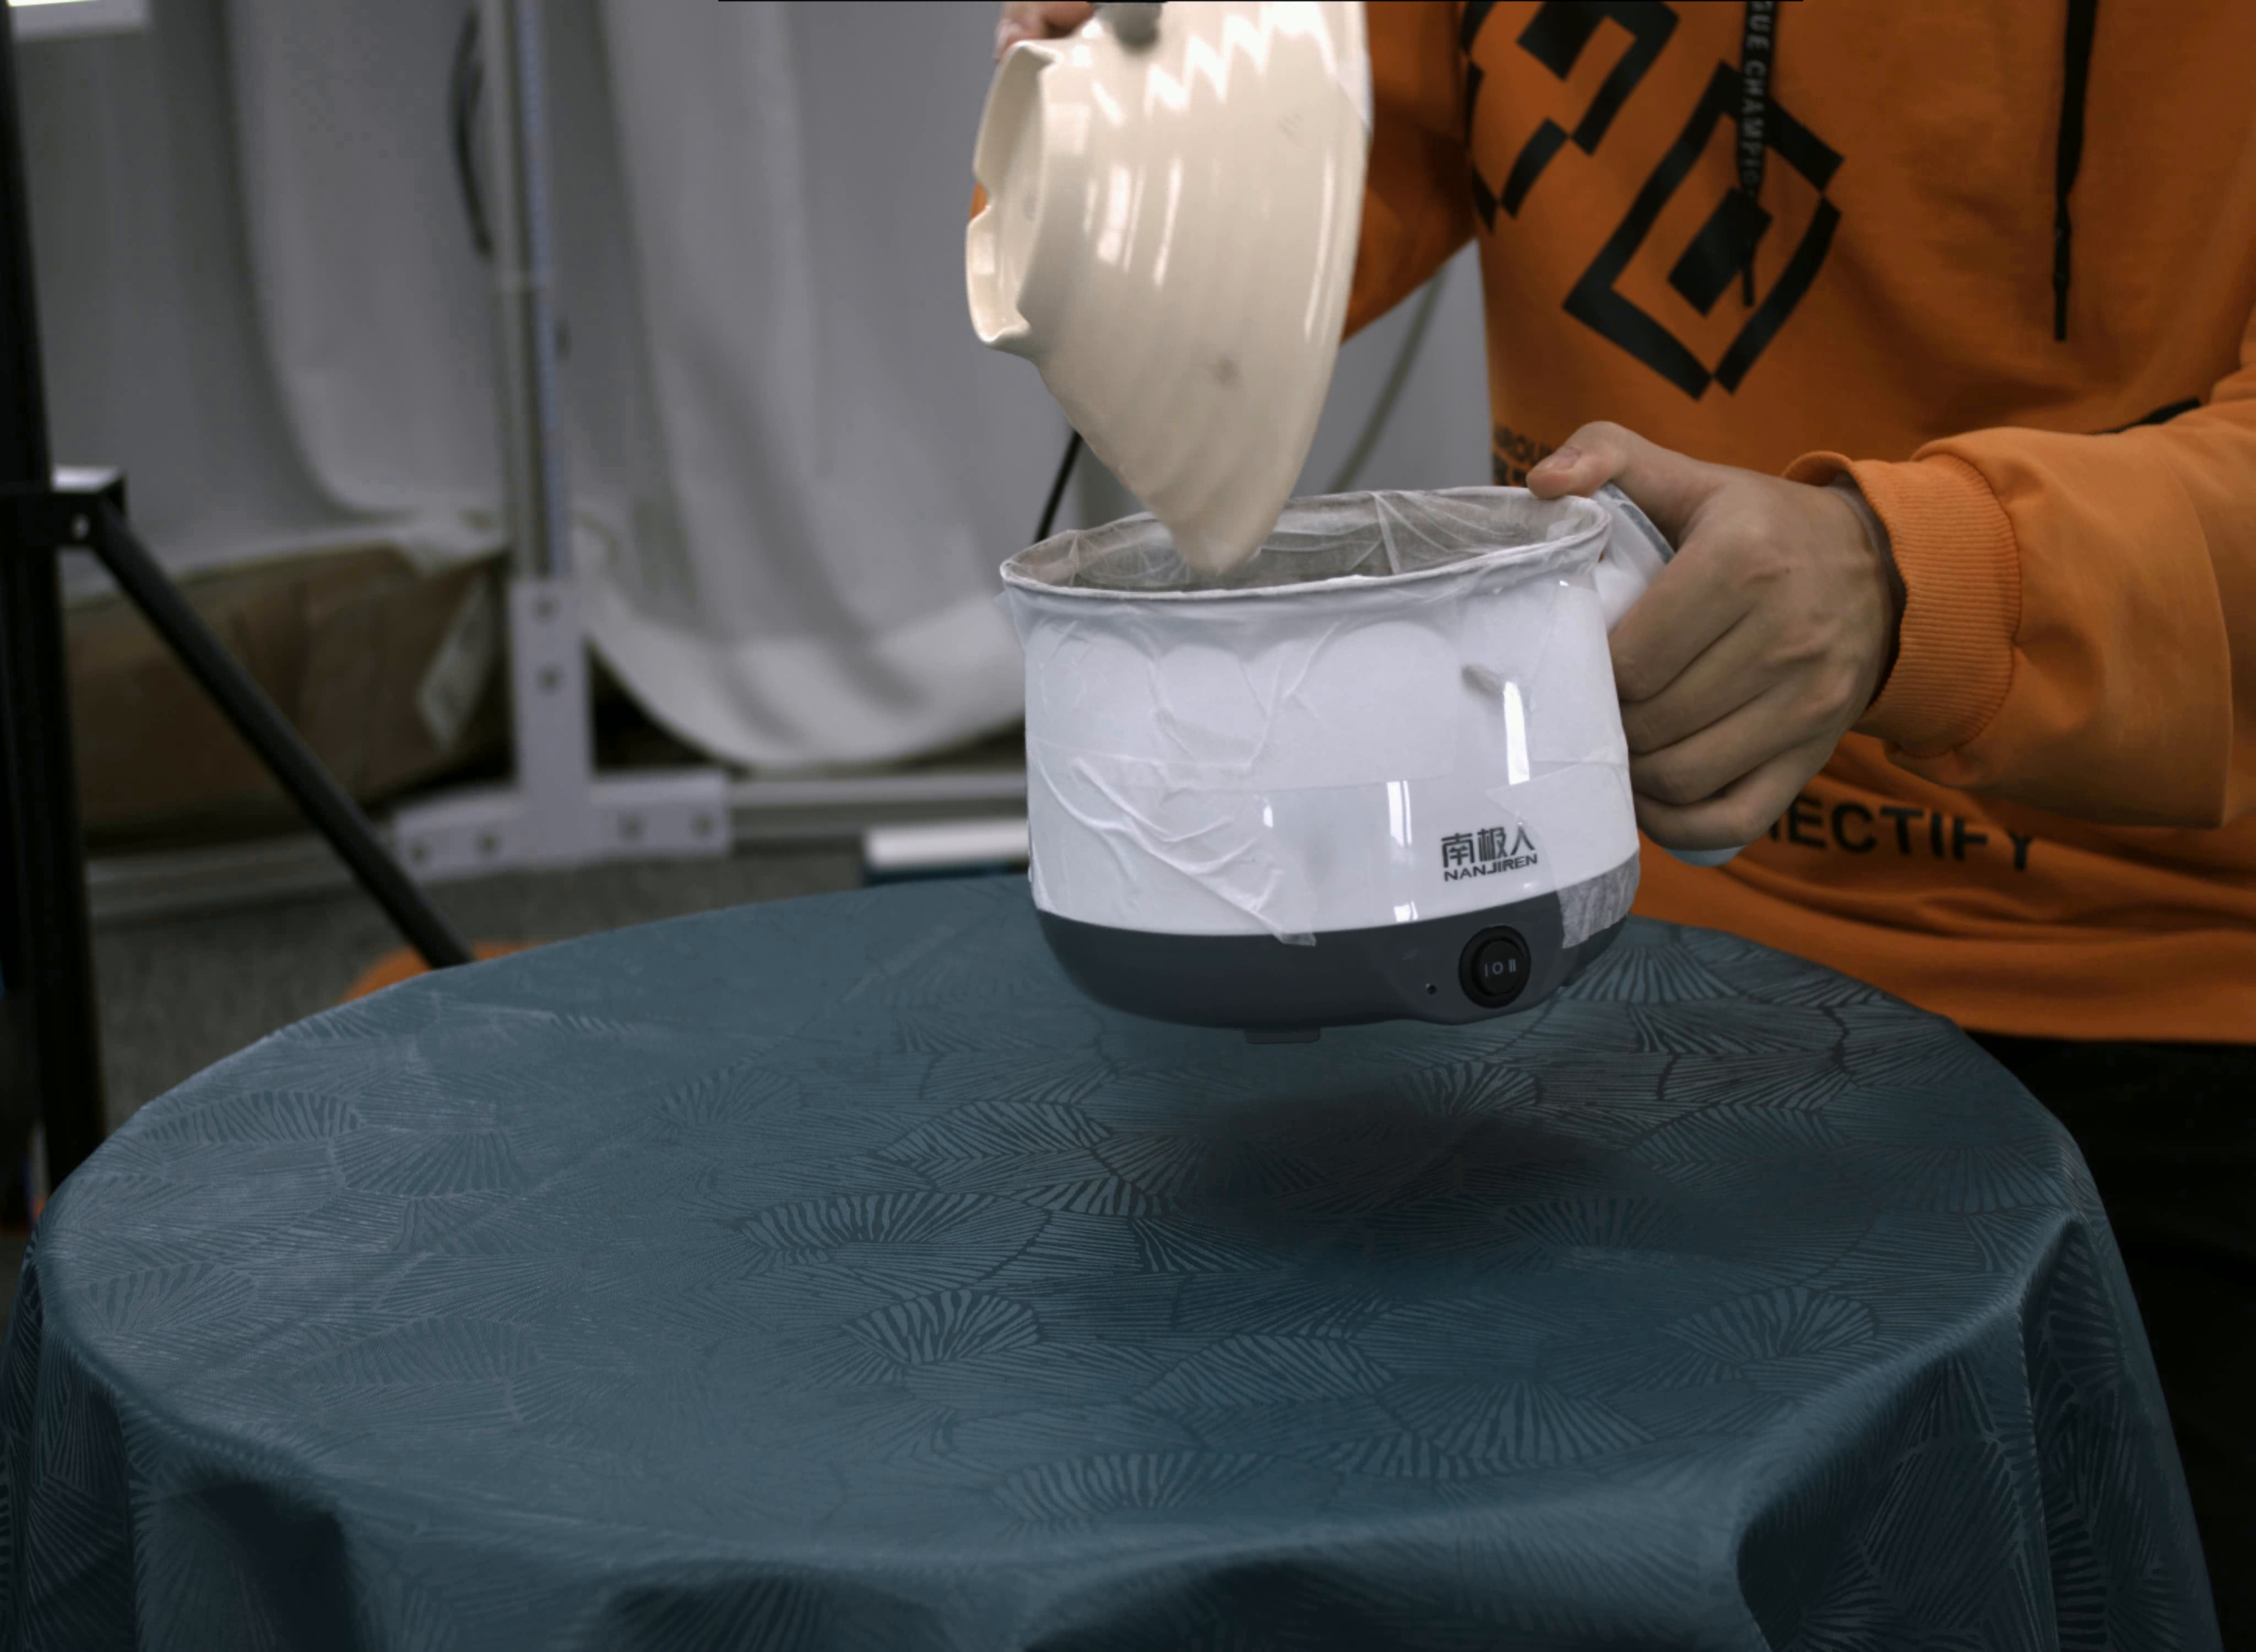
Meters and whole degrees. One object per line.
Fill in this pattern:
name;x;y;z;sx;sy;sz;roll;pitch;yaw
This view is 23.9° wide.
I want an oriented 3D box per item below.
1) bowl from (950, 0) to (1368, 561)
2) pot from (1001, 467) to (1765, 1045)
bowl;-0.002;-0.180;1.516;0.076;0.204;0.207;5;13;-17
pot;0.081;-0.025;1.545;0.229;0.137;0.182;-12;13;-27
